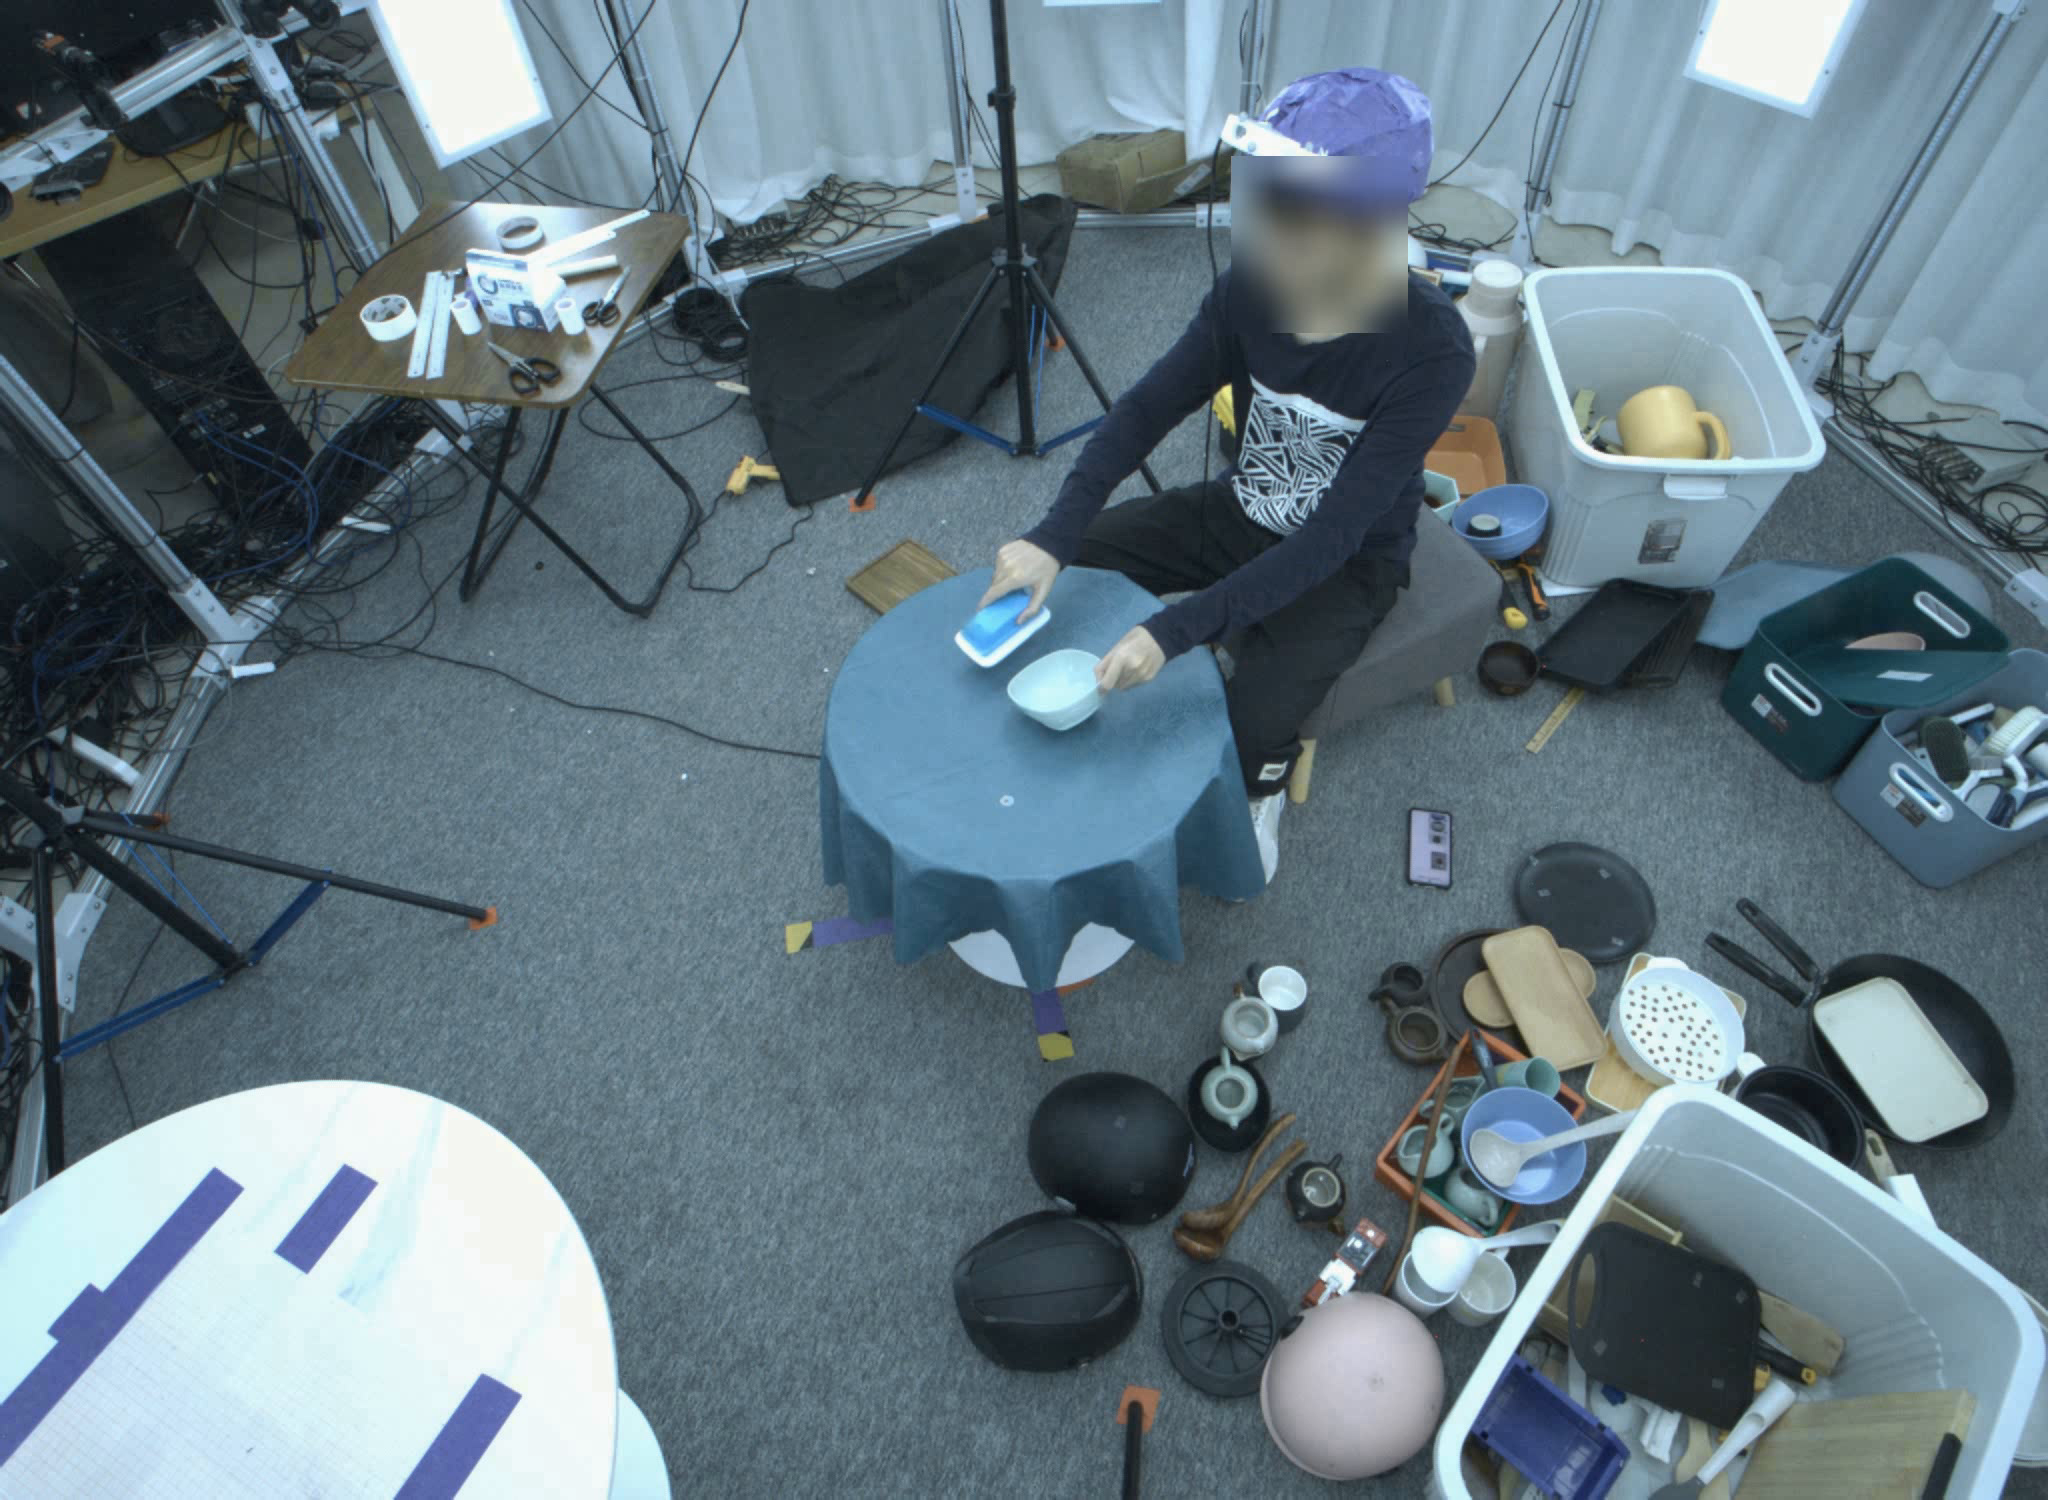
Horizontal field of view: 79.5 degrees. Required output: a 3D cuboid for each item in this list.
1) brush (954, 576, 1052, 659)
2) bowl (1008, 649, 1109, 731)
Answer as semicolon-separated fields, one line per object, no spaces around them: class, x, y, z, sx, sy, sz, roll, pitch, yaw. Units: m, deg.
brush;-0.031;-0.205;1.828;0.144;0.056;0.083;-39;71;-15
bowl;0.056;-0.080;1.785;0.150;0.059;0.150;-11;37;10
